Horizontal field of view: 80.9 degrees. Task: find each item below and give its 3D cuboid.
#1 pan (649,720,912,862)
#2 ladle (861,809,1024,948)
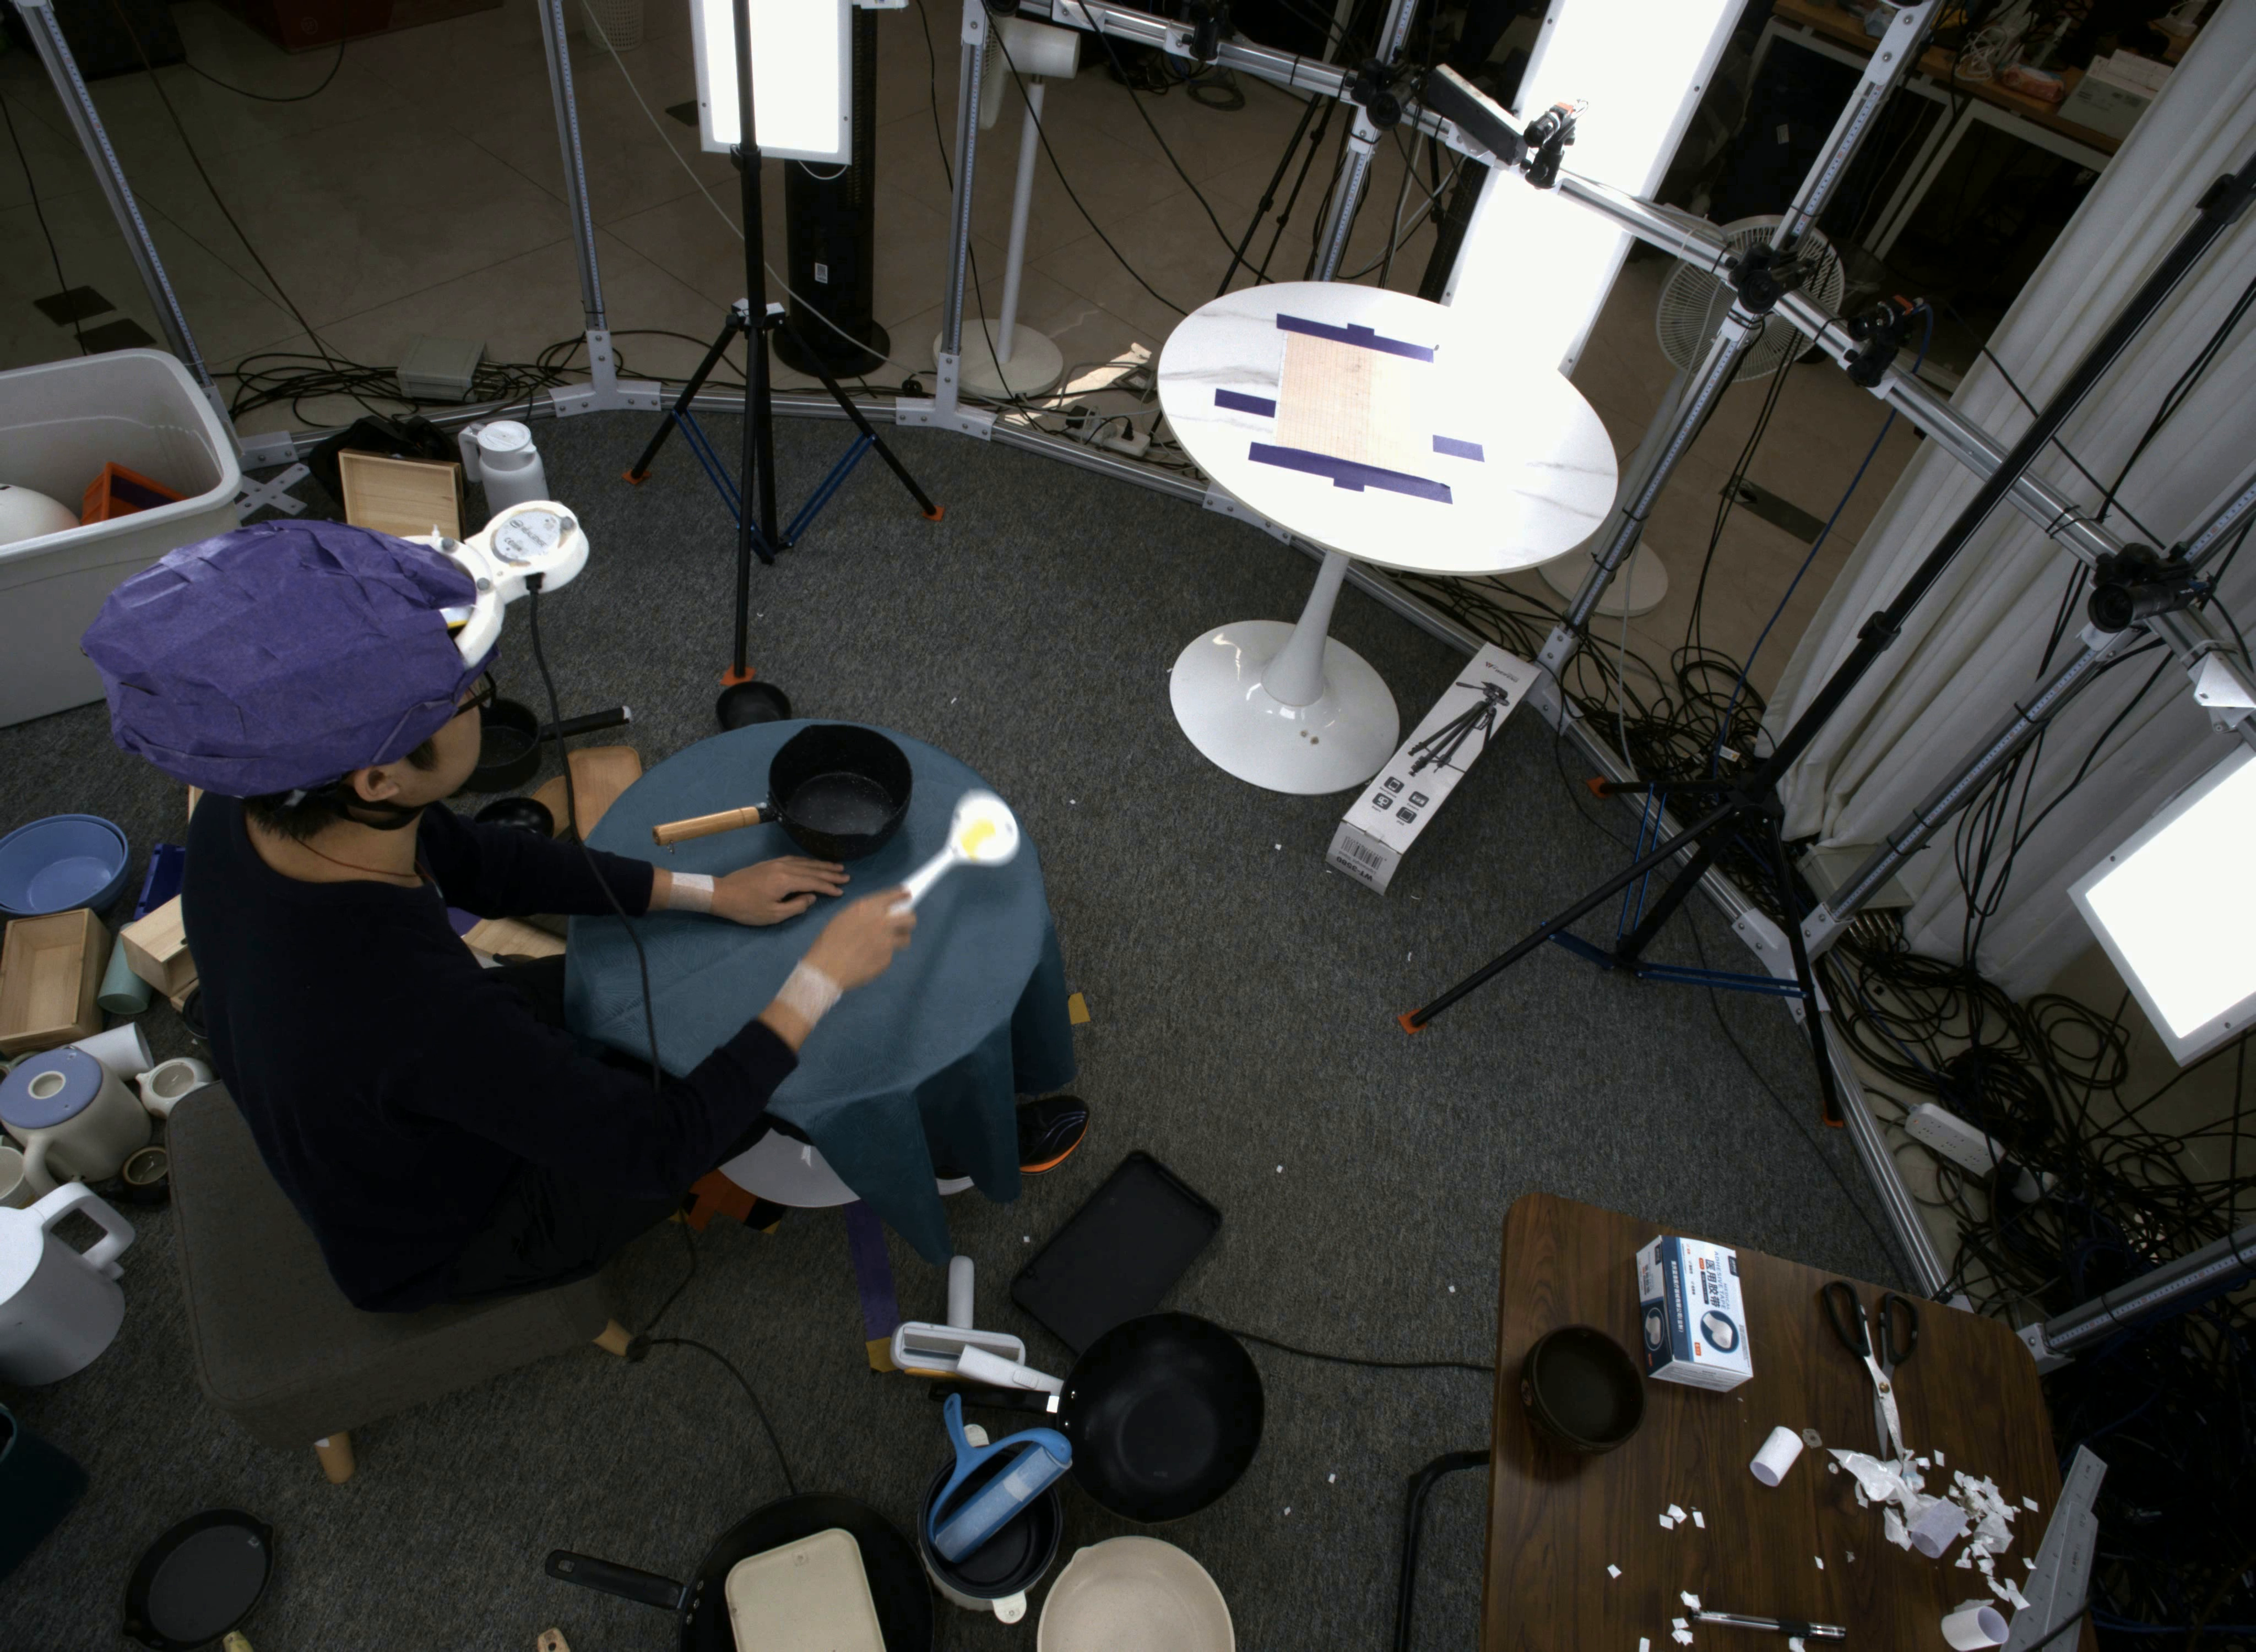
[{"bbox_3d":[-0.440,-0.018,1.653,0.344,0.110,0.202,-24,63,-30],"label":"pan"},{"bbox_3d":[-0.221,0.065,1.584,0.092,0.068,0.293,63,29,-10],"label":"ladle"}]
